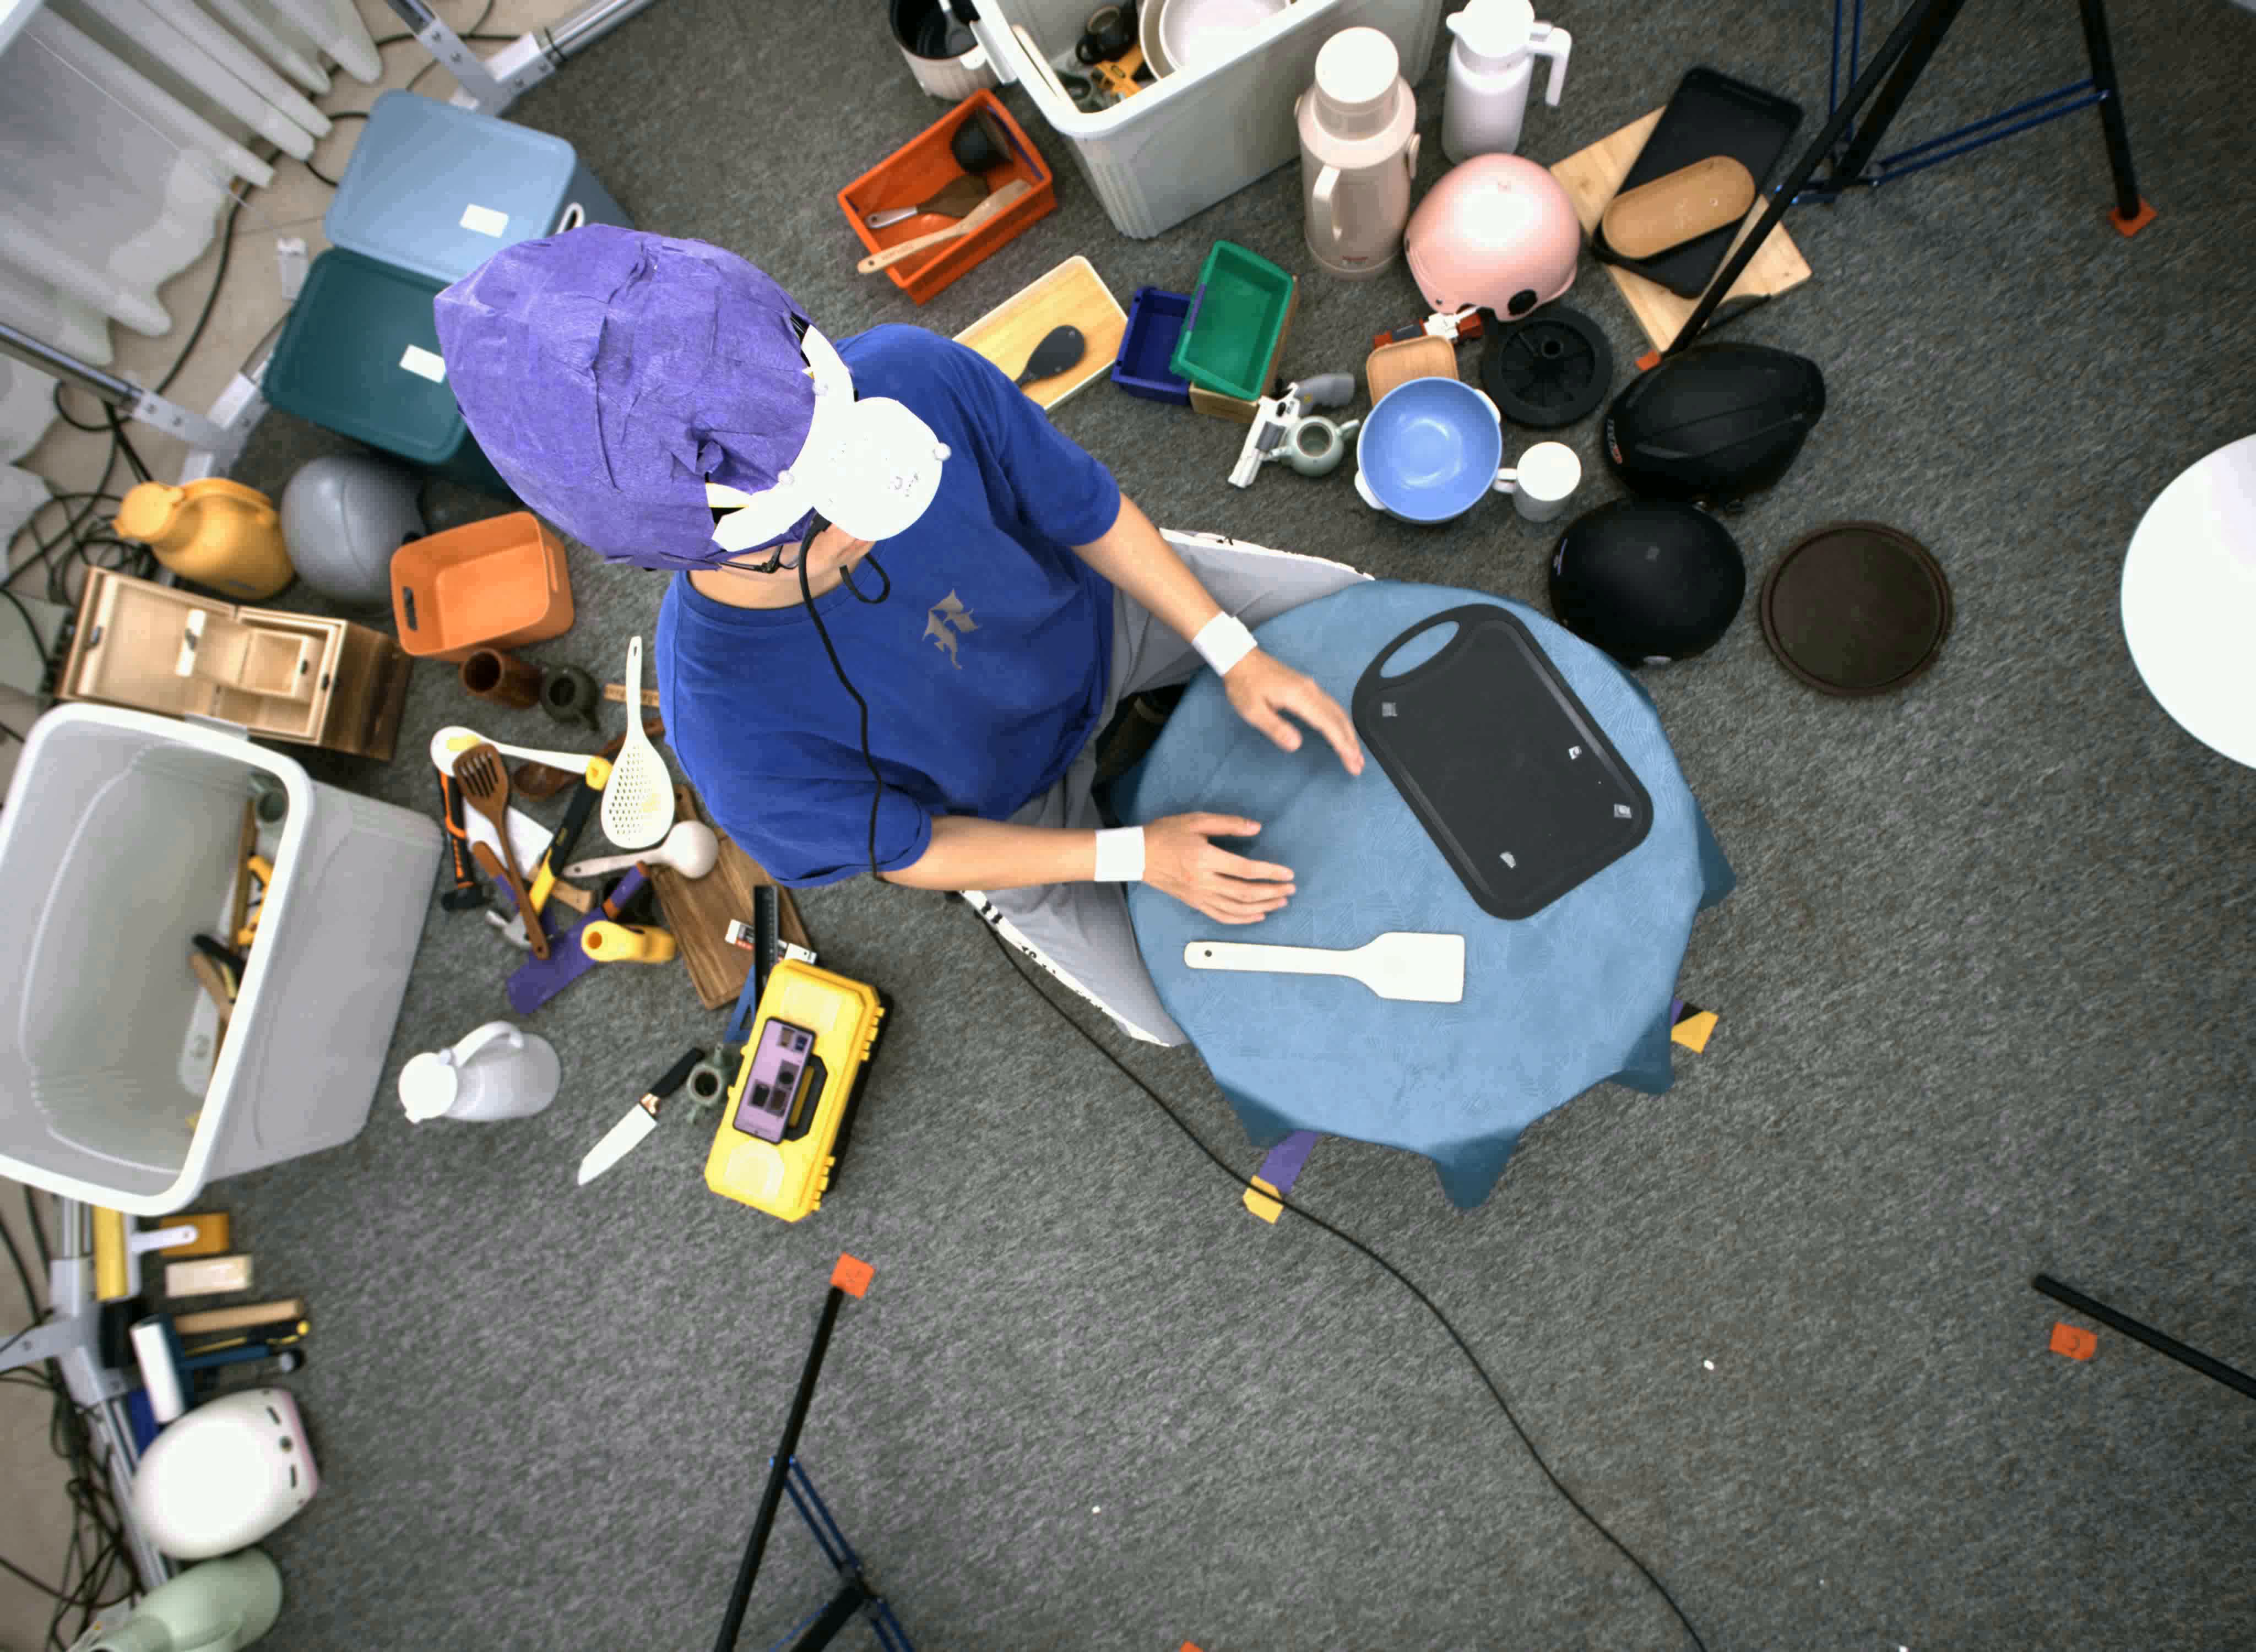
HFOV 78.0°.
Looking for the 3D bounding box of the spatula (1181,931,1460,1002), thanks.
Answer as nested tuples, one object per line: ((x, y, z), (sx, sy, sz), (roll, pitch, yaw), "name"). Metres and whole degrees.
((0.201, 0.141, 1.463), (0.294, 0.010, 0.072), (2, 89, 11), "spatula")

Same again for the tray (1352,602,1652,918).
((0.385, -0.080, 1.441), (0.212, 0.010, 0.323), (-33, 82, 7), "tray")
